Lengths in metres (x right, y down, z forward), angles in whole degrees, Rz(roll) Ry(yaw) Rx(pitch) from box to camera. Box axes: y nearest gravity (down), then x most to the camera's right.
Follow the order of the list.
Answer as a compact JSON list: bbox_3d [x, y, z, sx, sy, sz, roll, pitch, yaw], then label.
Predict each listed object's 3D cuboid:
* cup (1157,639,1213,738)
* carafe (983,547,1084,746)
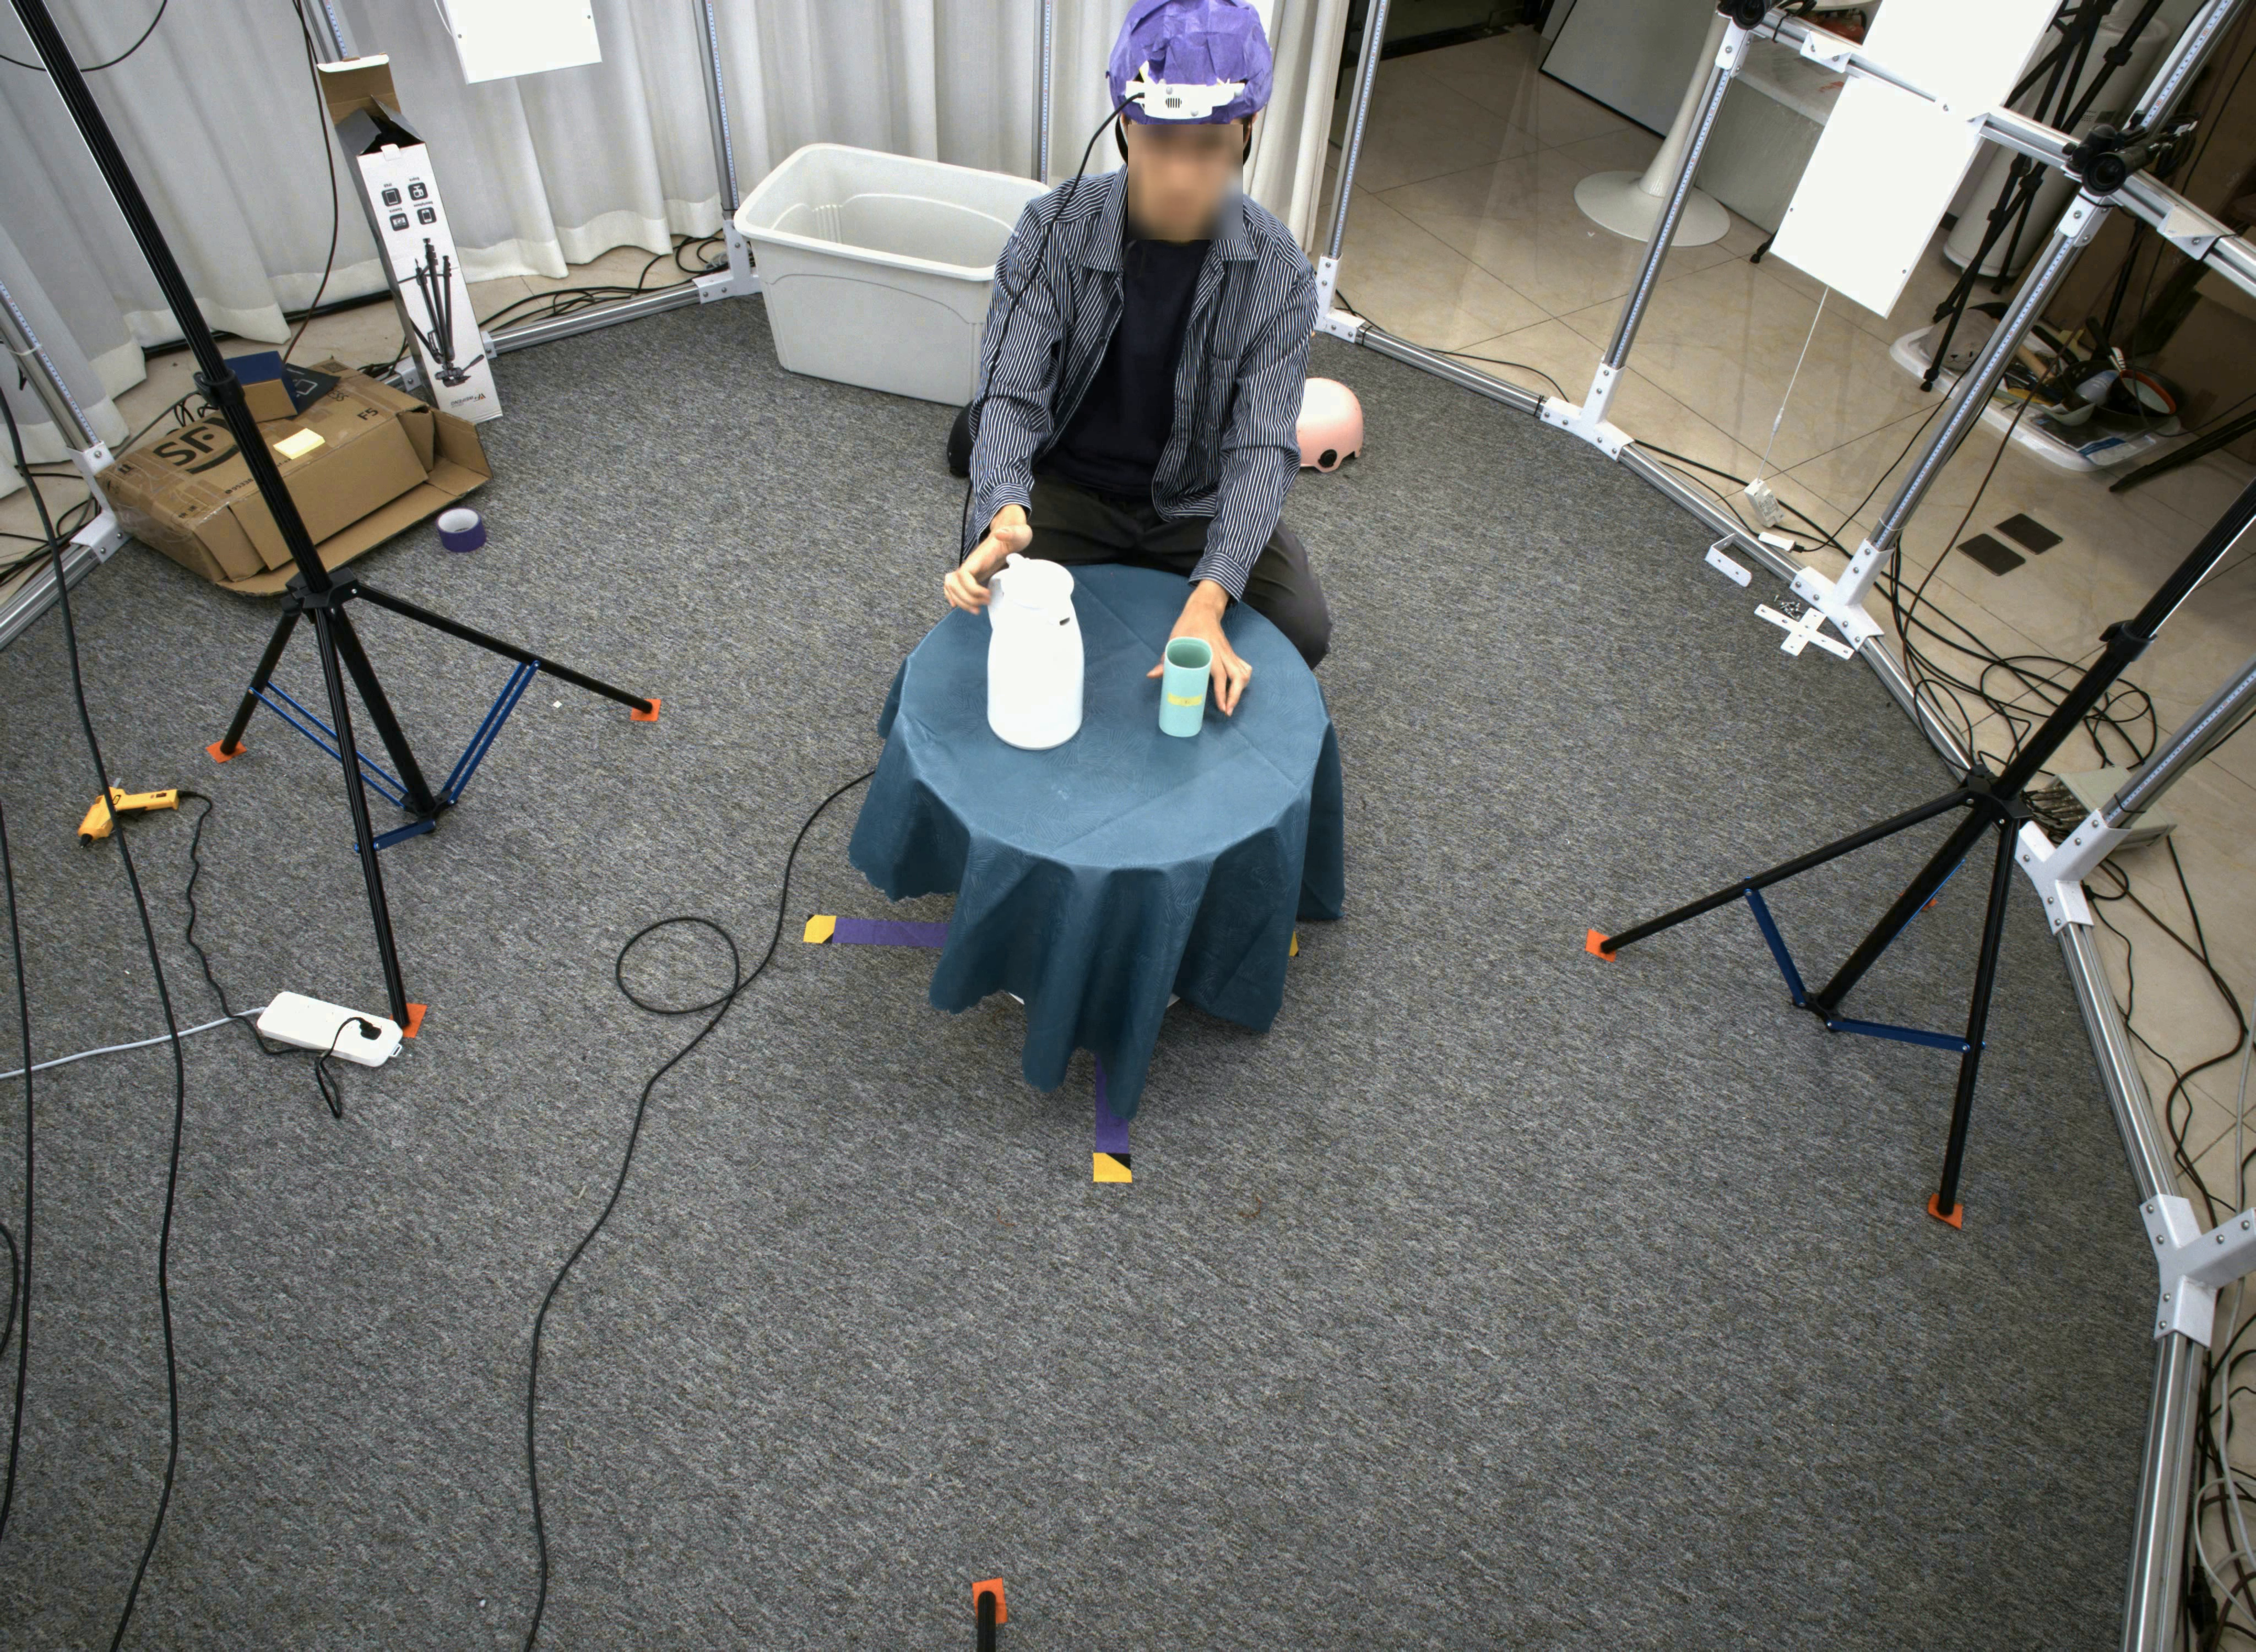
[{"bbox_3d":[0.076,-0.187,1.746,0.066,0.129,0.068,3,51,-4],"label":"cup"},{"bbox_3d":[-0.134,-0.248,1.697,0.133,0.242,0.170,-31,57,-27],"label":"carafe"}]
